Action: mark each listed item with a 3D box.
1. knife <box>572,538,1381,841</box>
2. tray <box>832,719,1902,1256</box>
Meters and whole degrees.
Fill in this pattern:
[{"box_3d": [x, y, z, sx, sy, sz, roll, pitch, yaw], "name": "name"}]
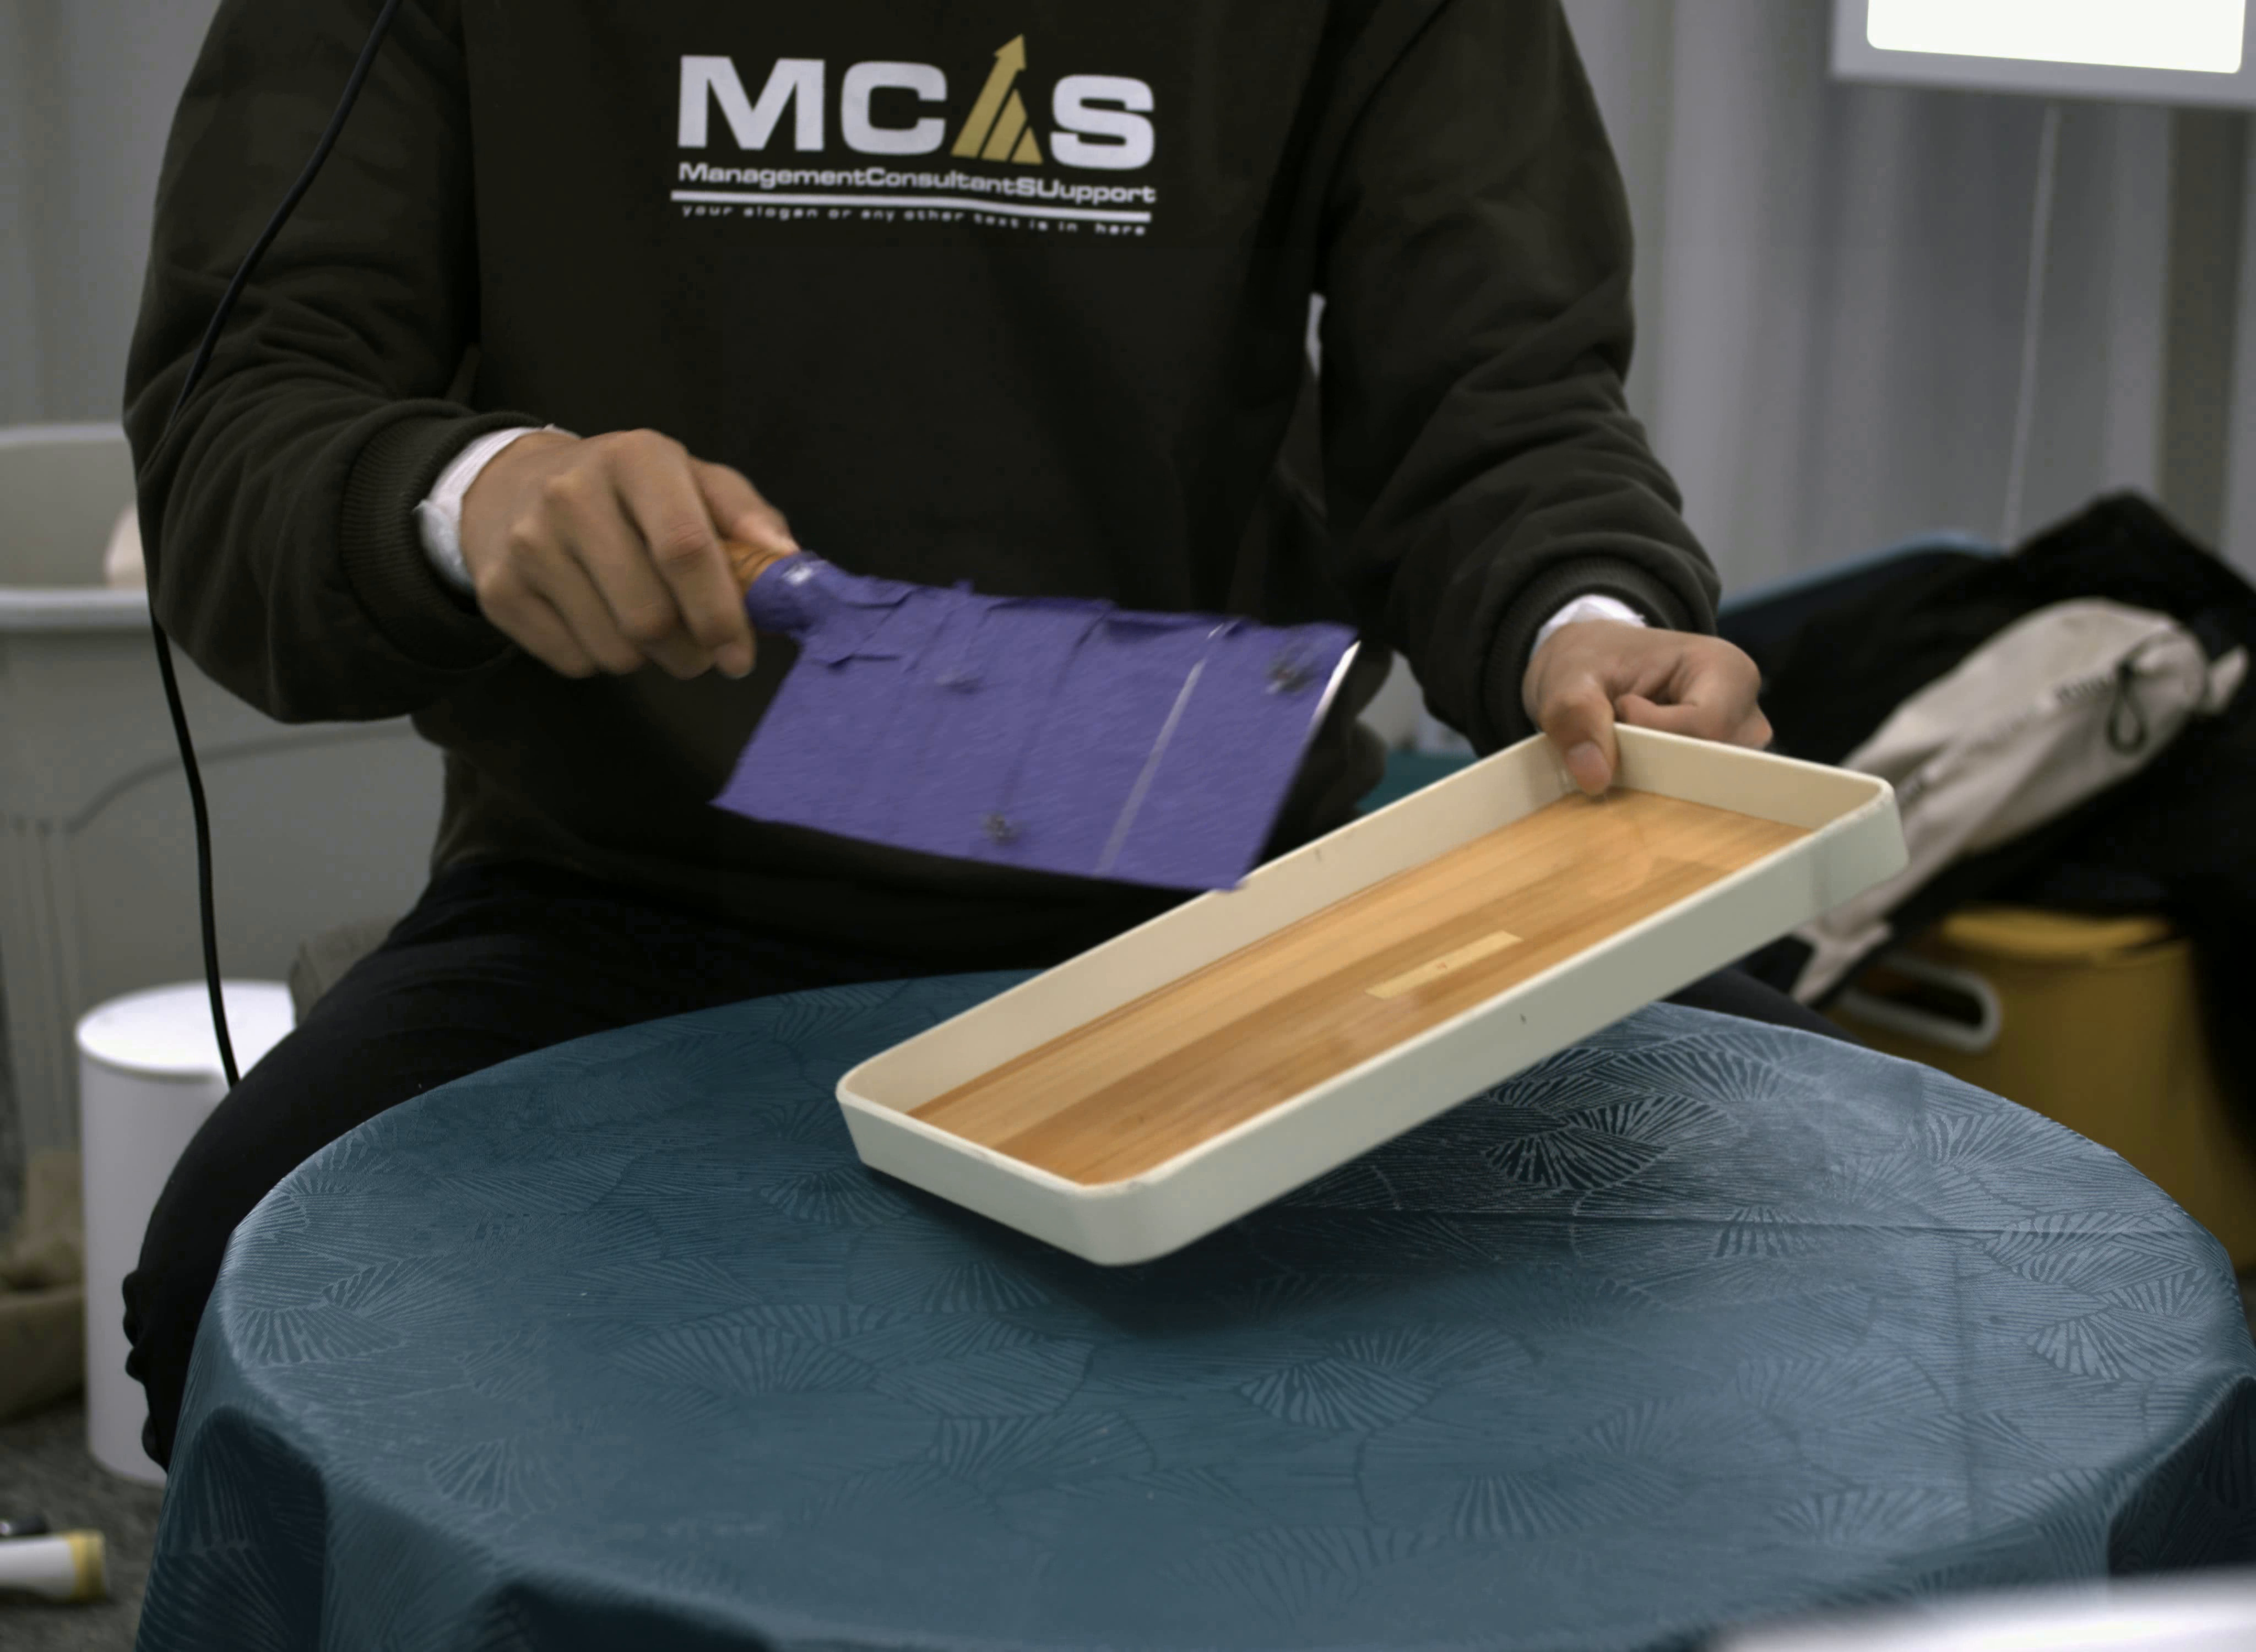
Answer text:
[{"box_3d": [-0.066, -0.043, 1.611, 0.311, 0.032, 0.103, 5, 61, 39], "name": "knife"}, {"box_3d": [0.073, 0.044, 1.621, 0.300, 0.027, 0.189, -25, 18, -23], "name": "tray"}]
